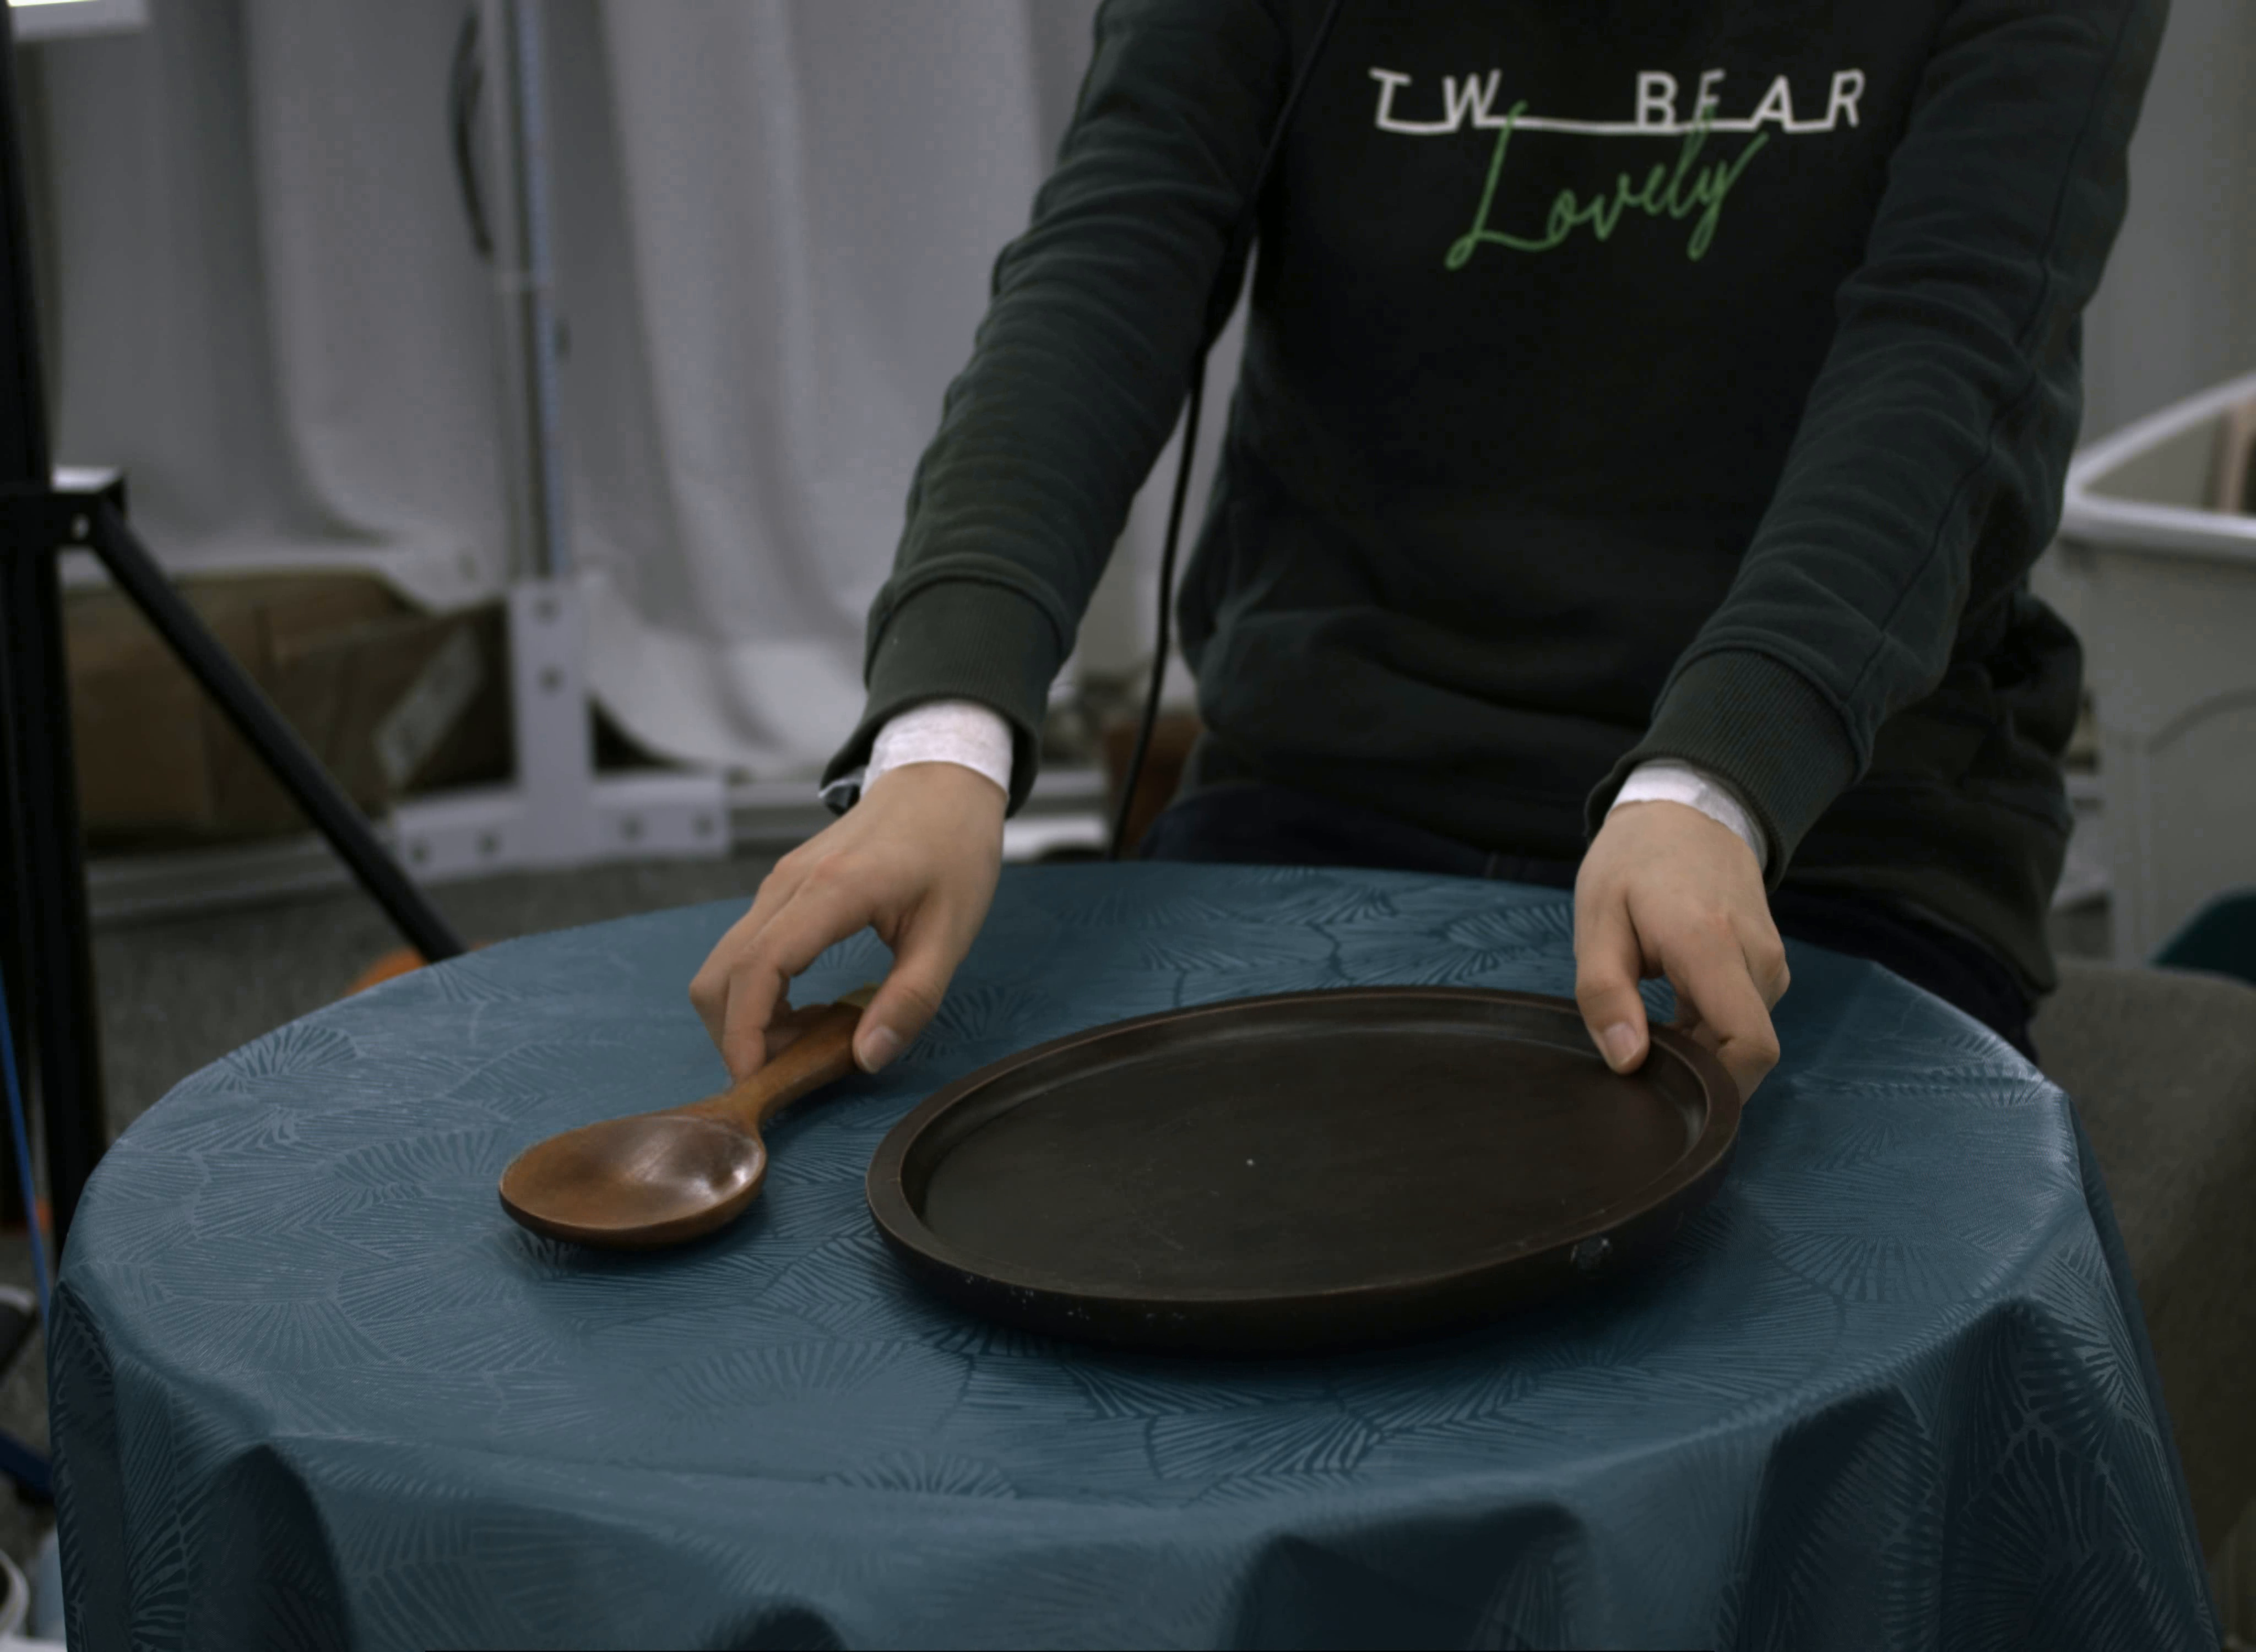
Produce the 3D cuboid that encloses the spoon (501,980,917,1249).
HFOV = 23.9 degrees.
[{"bbox_3d":[-0.116,0.088,1.608,0.076,0.017,0.213,7,20,23],"label":"spoon"}]

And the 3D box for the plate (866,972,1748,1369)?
[{"bbox_3d":[0.051,0.098,1.518,0.254,0.029,0.256,-7,18,1],"label":"plate"}]
